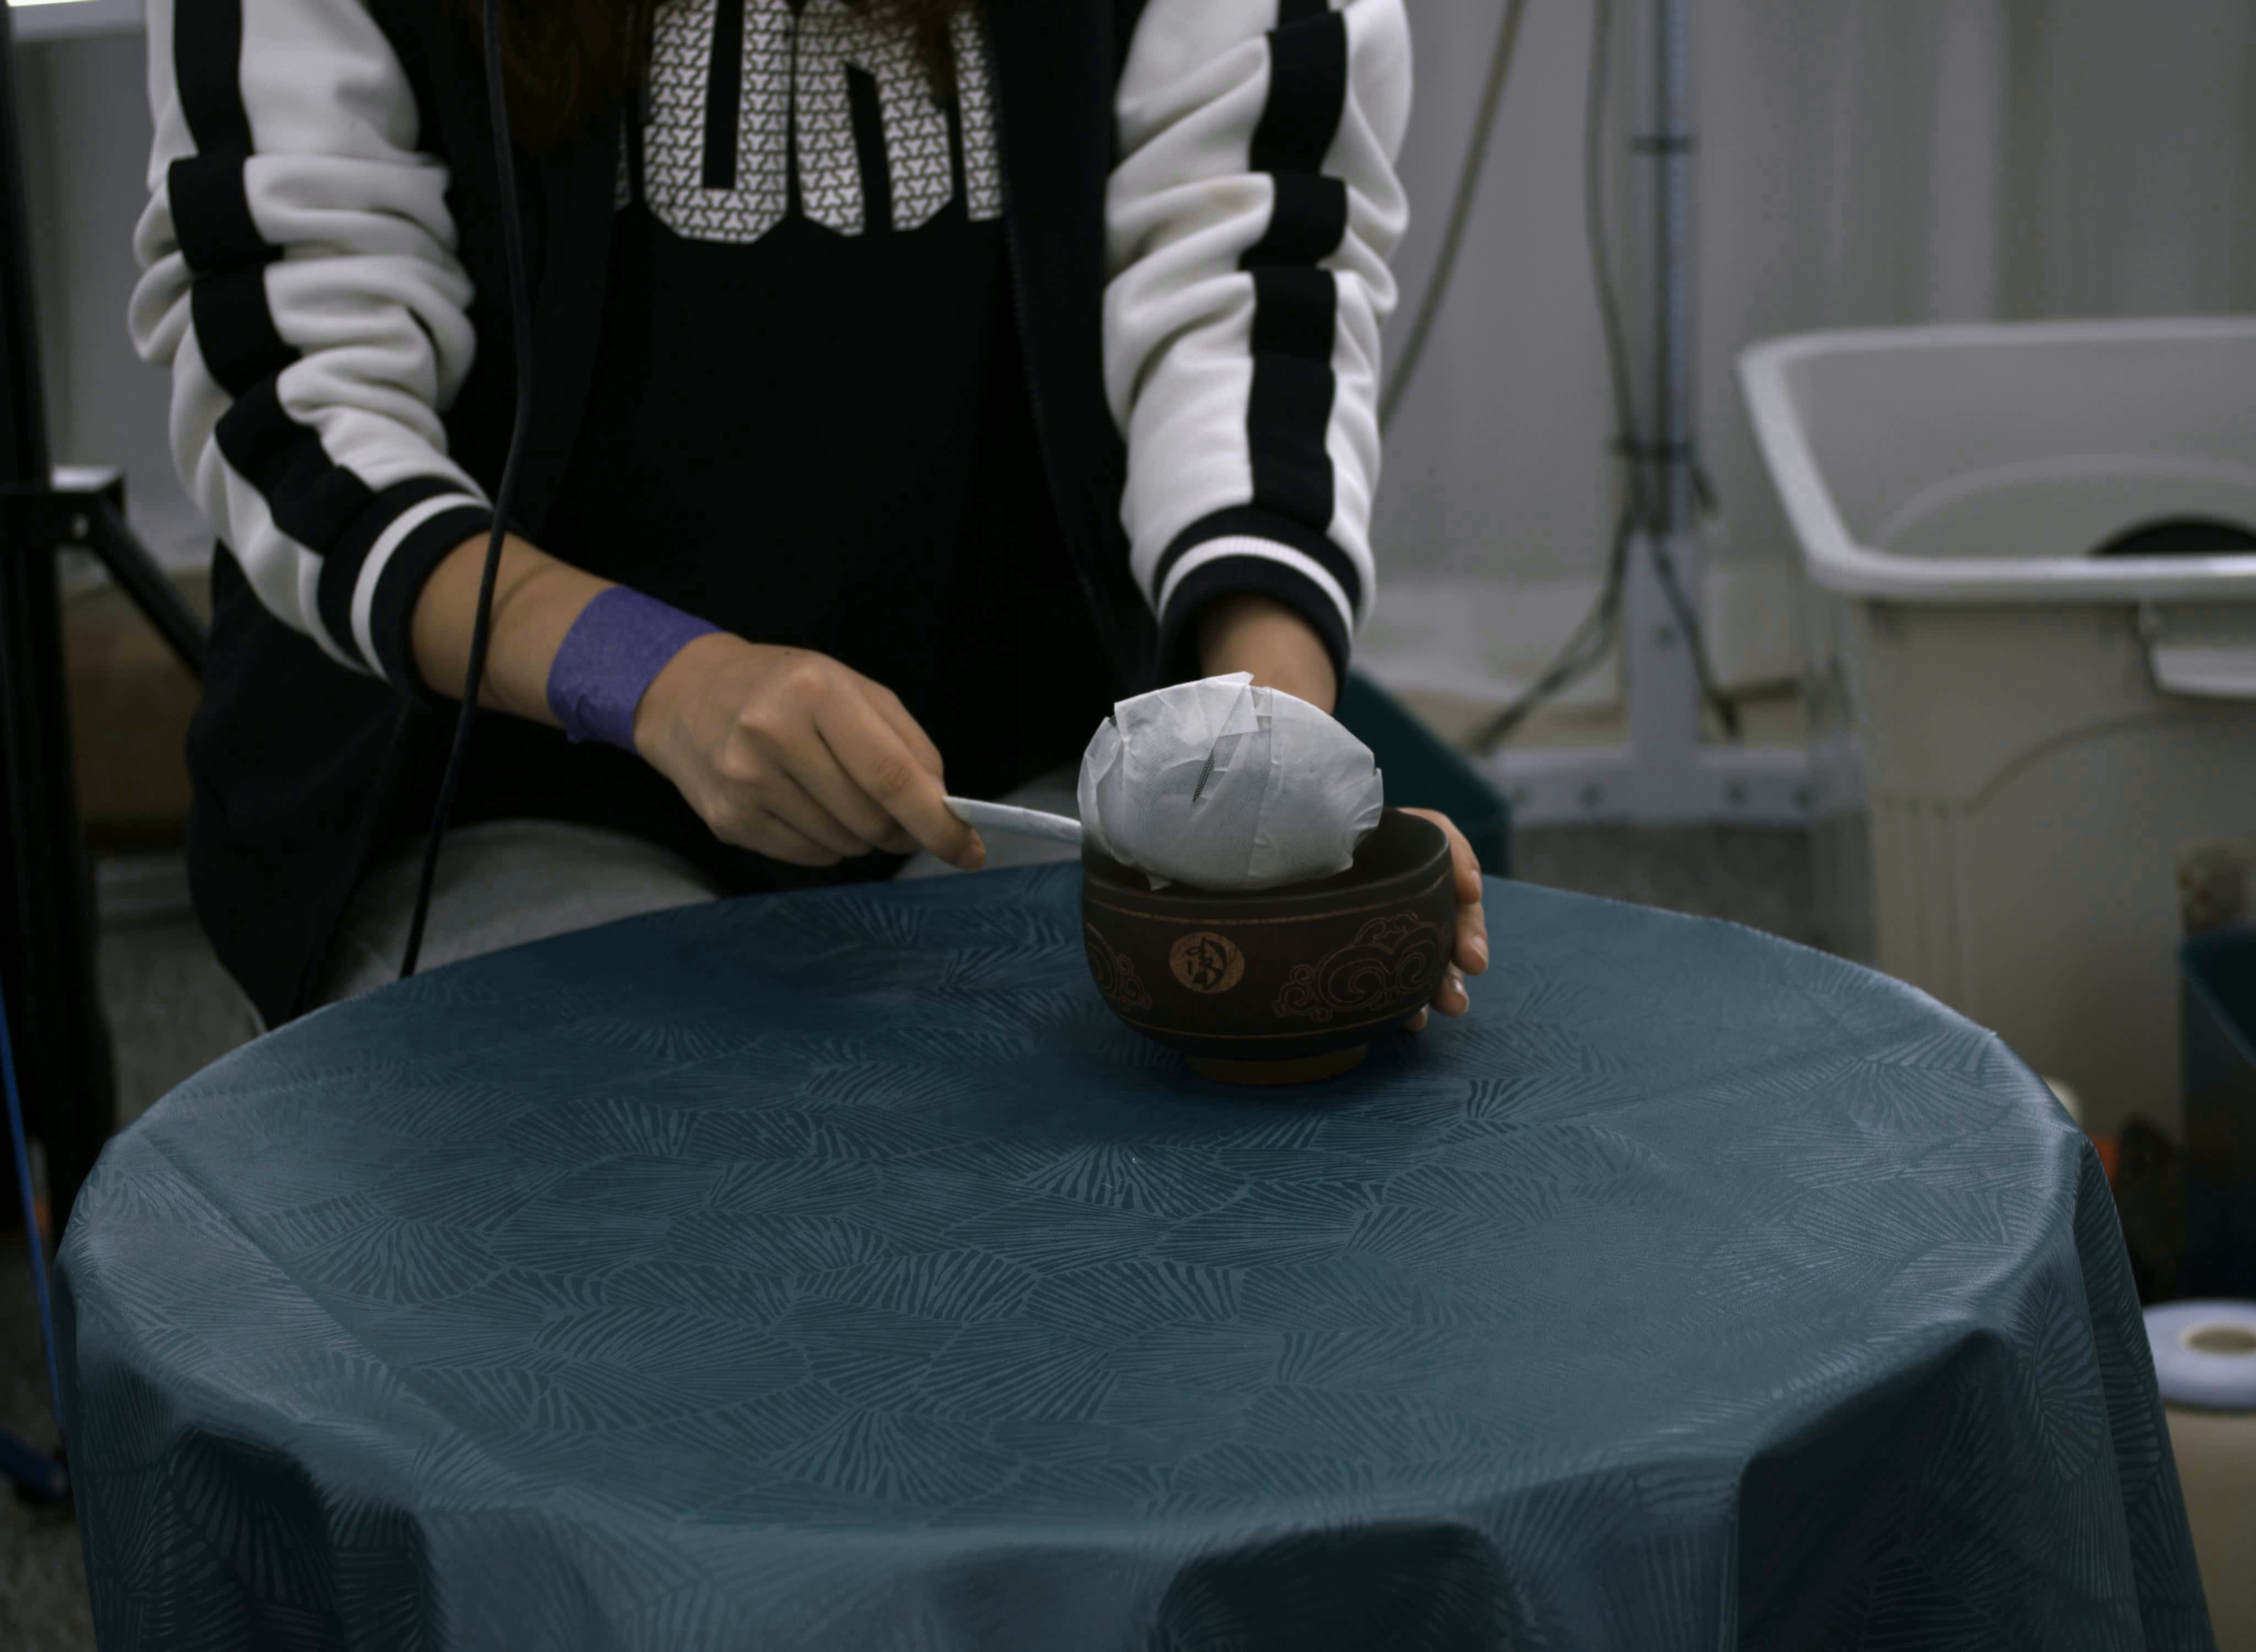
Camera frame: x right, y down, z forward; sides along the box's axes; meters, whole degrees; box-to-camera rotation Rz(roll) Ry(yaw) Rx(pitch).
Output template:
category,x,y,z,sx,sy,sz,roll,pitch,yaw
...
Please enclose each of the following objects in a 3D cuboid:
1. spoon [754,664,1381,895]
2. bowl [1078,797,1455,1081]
category,x,y,z,sx,sy,sz,roll,pitch,yaw
spoon,-0.026,-0.015,1.711,0.059,0.099,0.283,-50,28,-21
bowl,0.044,0.038,1.661,0.117,0.070,0.118,-4,16,0
